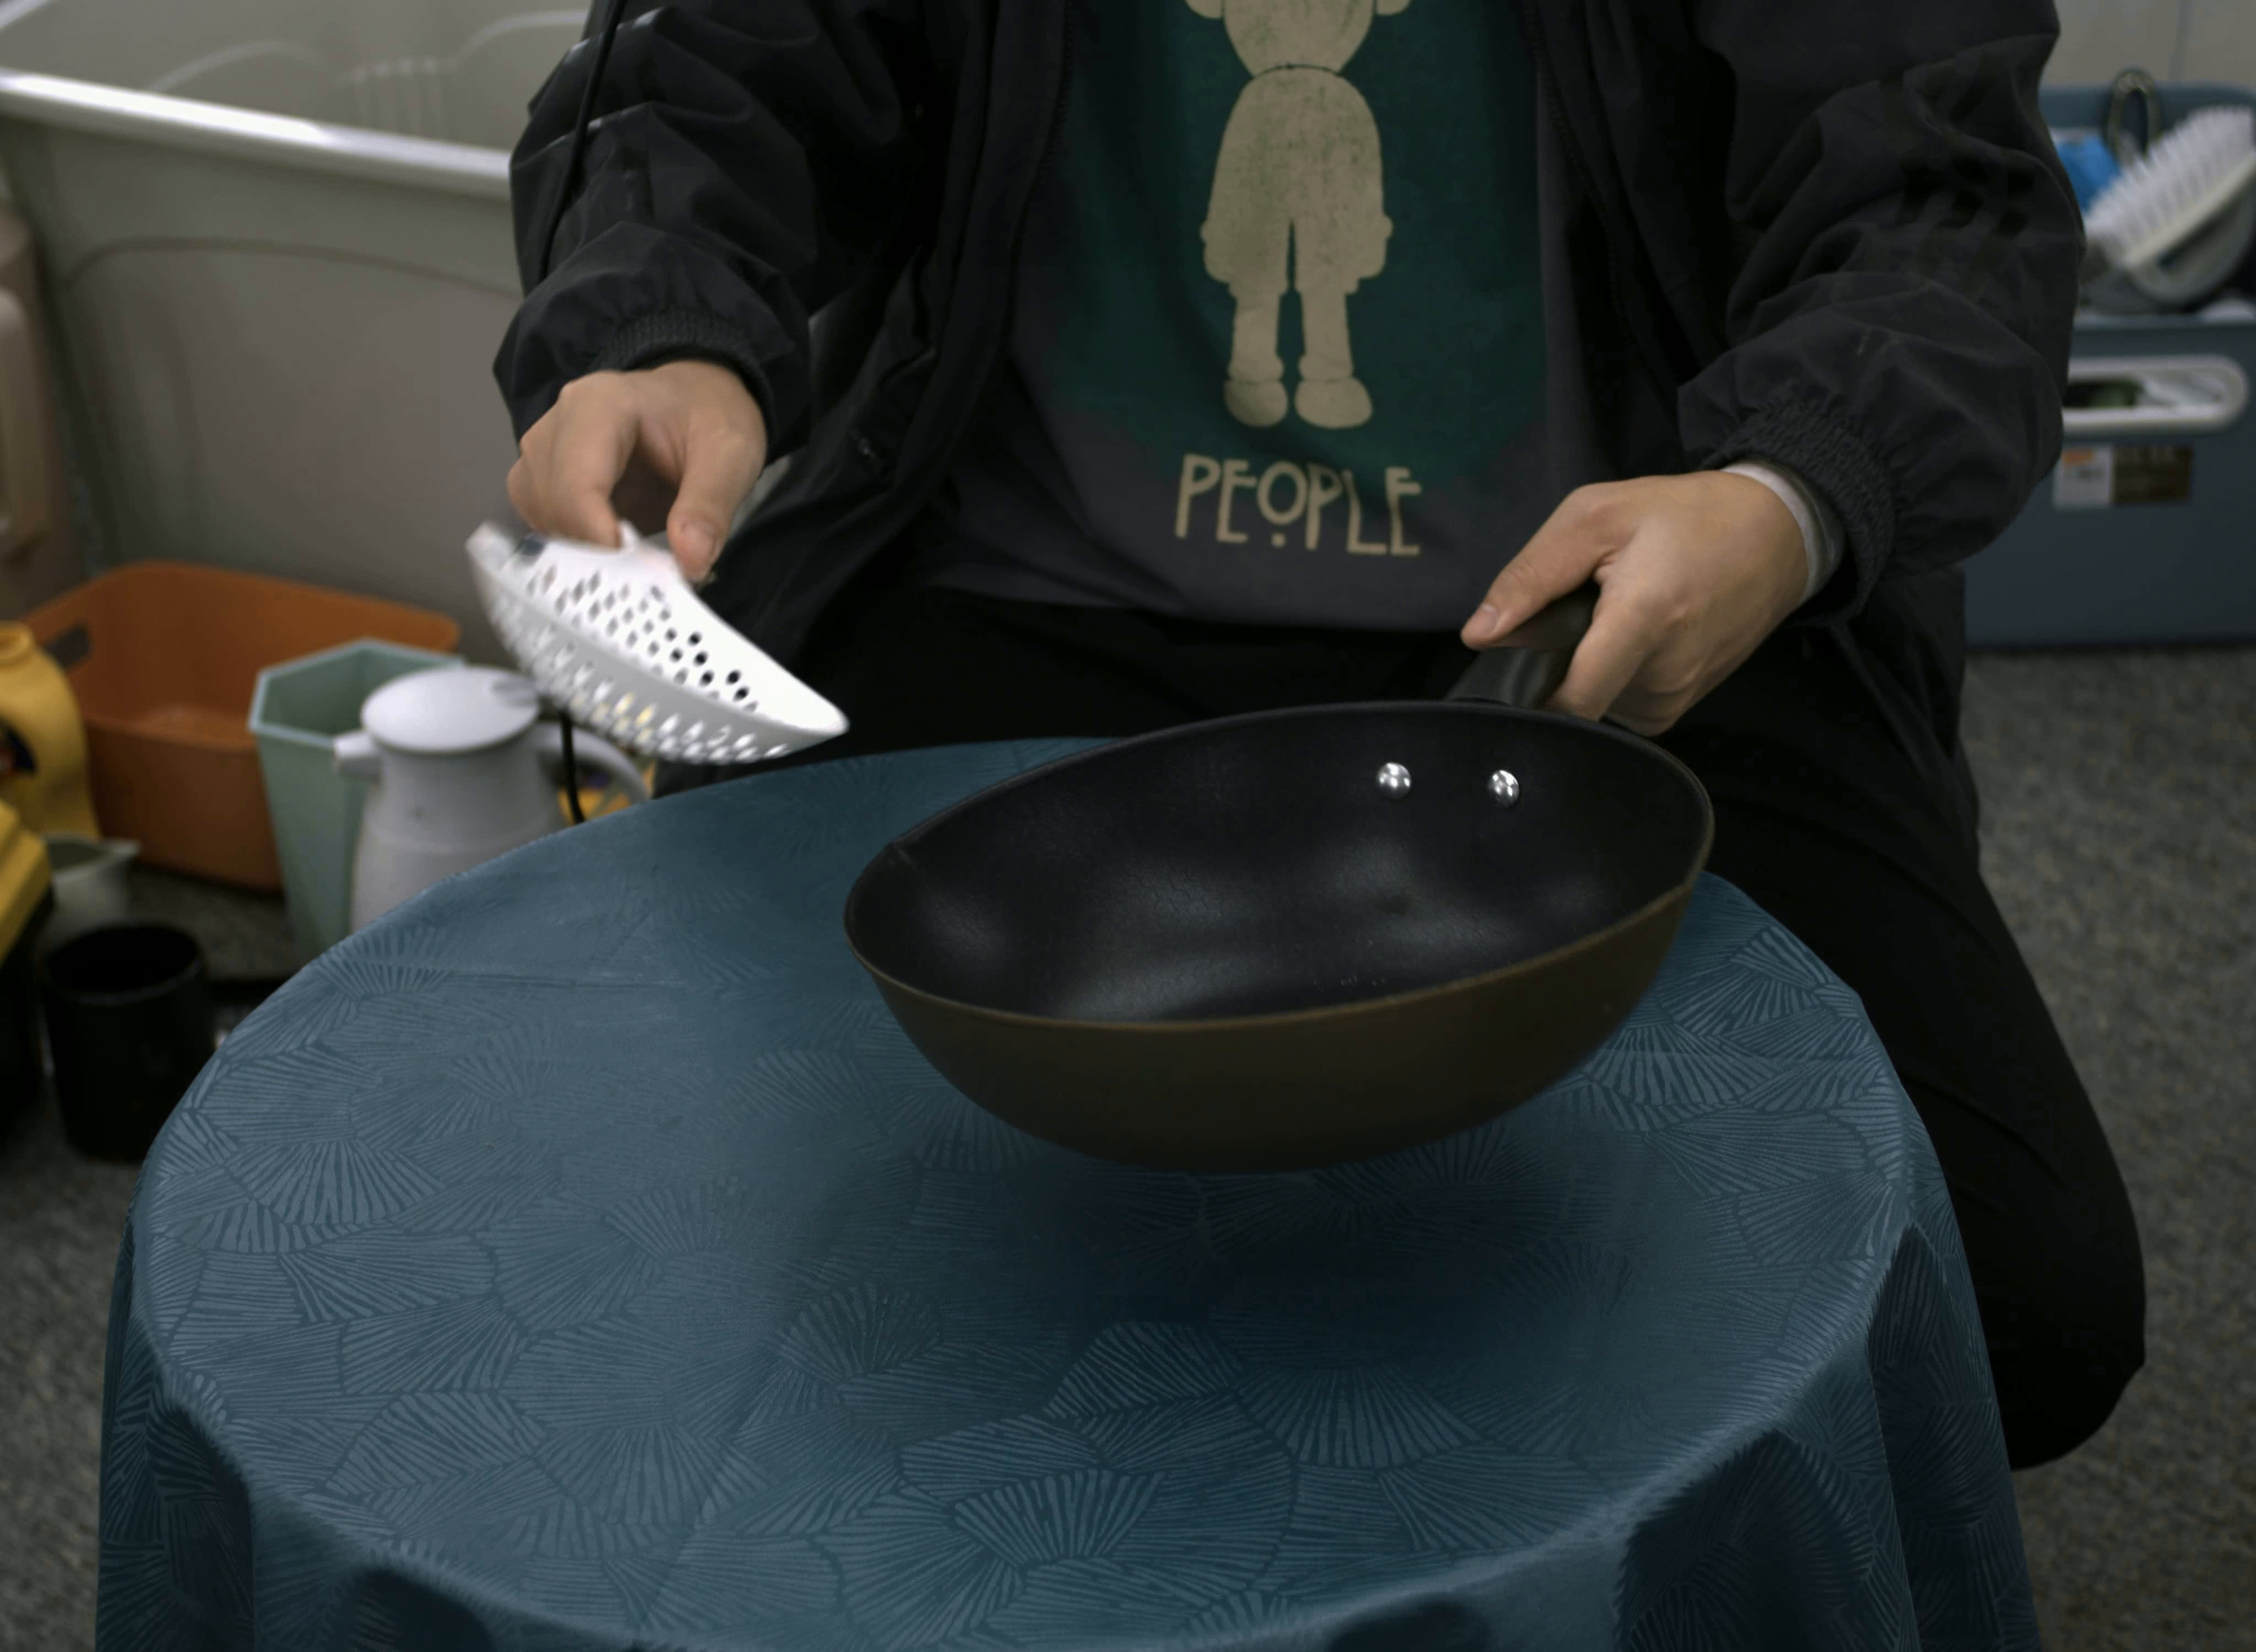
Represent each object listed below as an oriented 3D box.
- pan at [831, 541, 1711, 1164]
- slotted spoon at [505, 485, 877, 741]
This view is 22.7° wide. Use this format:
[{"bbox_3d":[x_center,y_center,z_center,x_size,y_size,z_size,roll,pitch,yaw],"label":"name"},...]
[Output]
[{"bbox_3d":[0.092,0.010,1.890,0.285,0.086,0.470,2,21,29],"label":"pan"},{"bbox_3d":[-0.161,-0.080,1.903,0.136,0.050,0.350,31,7,-12],"label":"slotted spoon"}]
